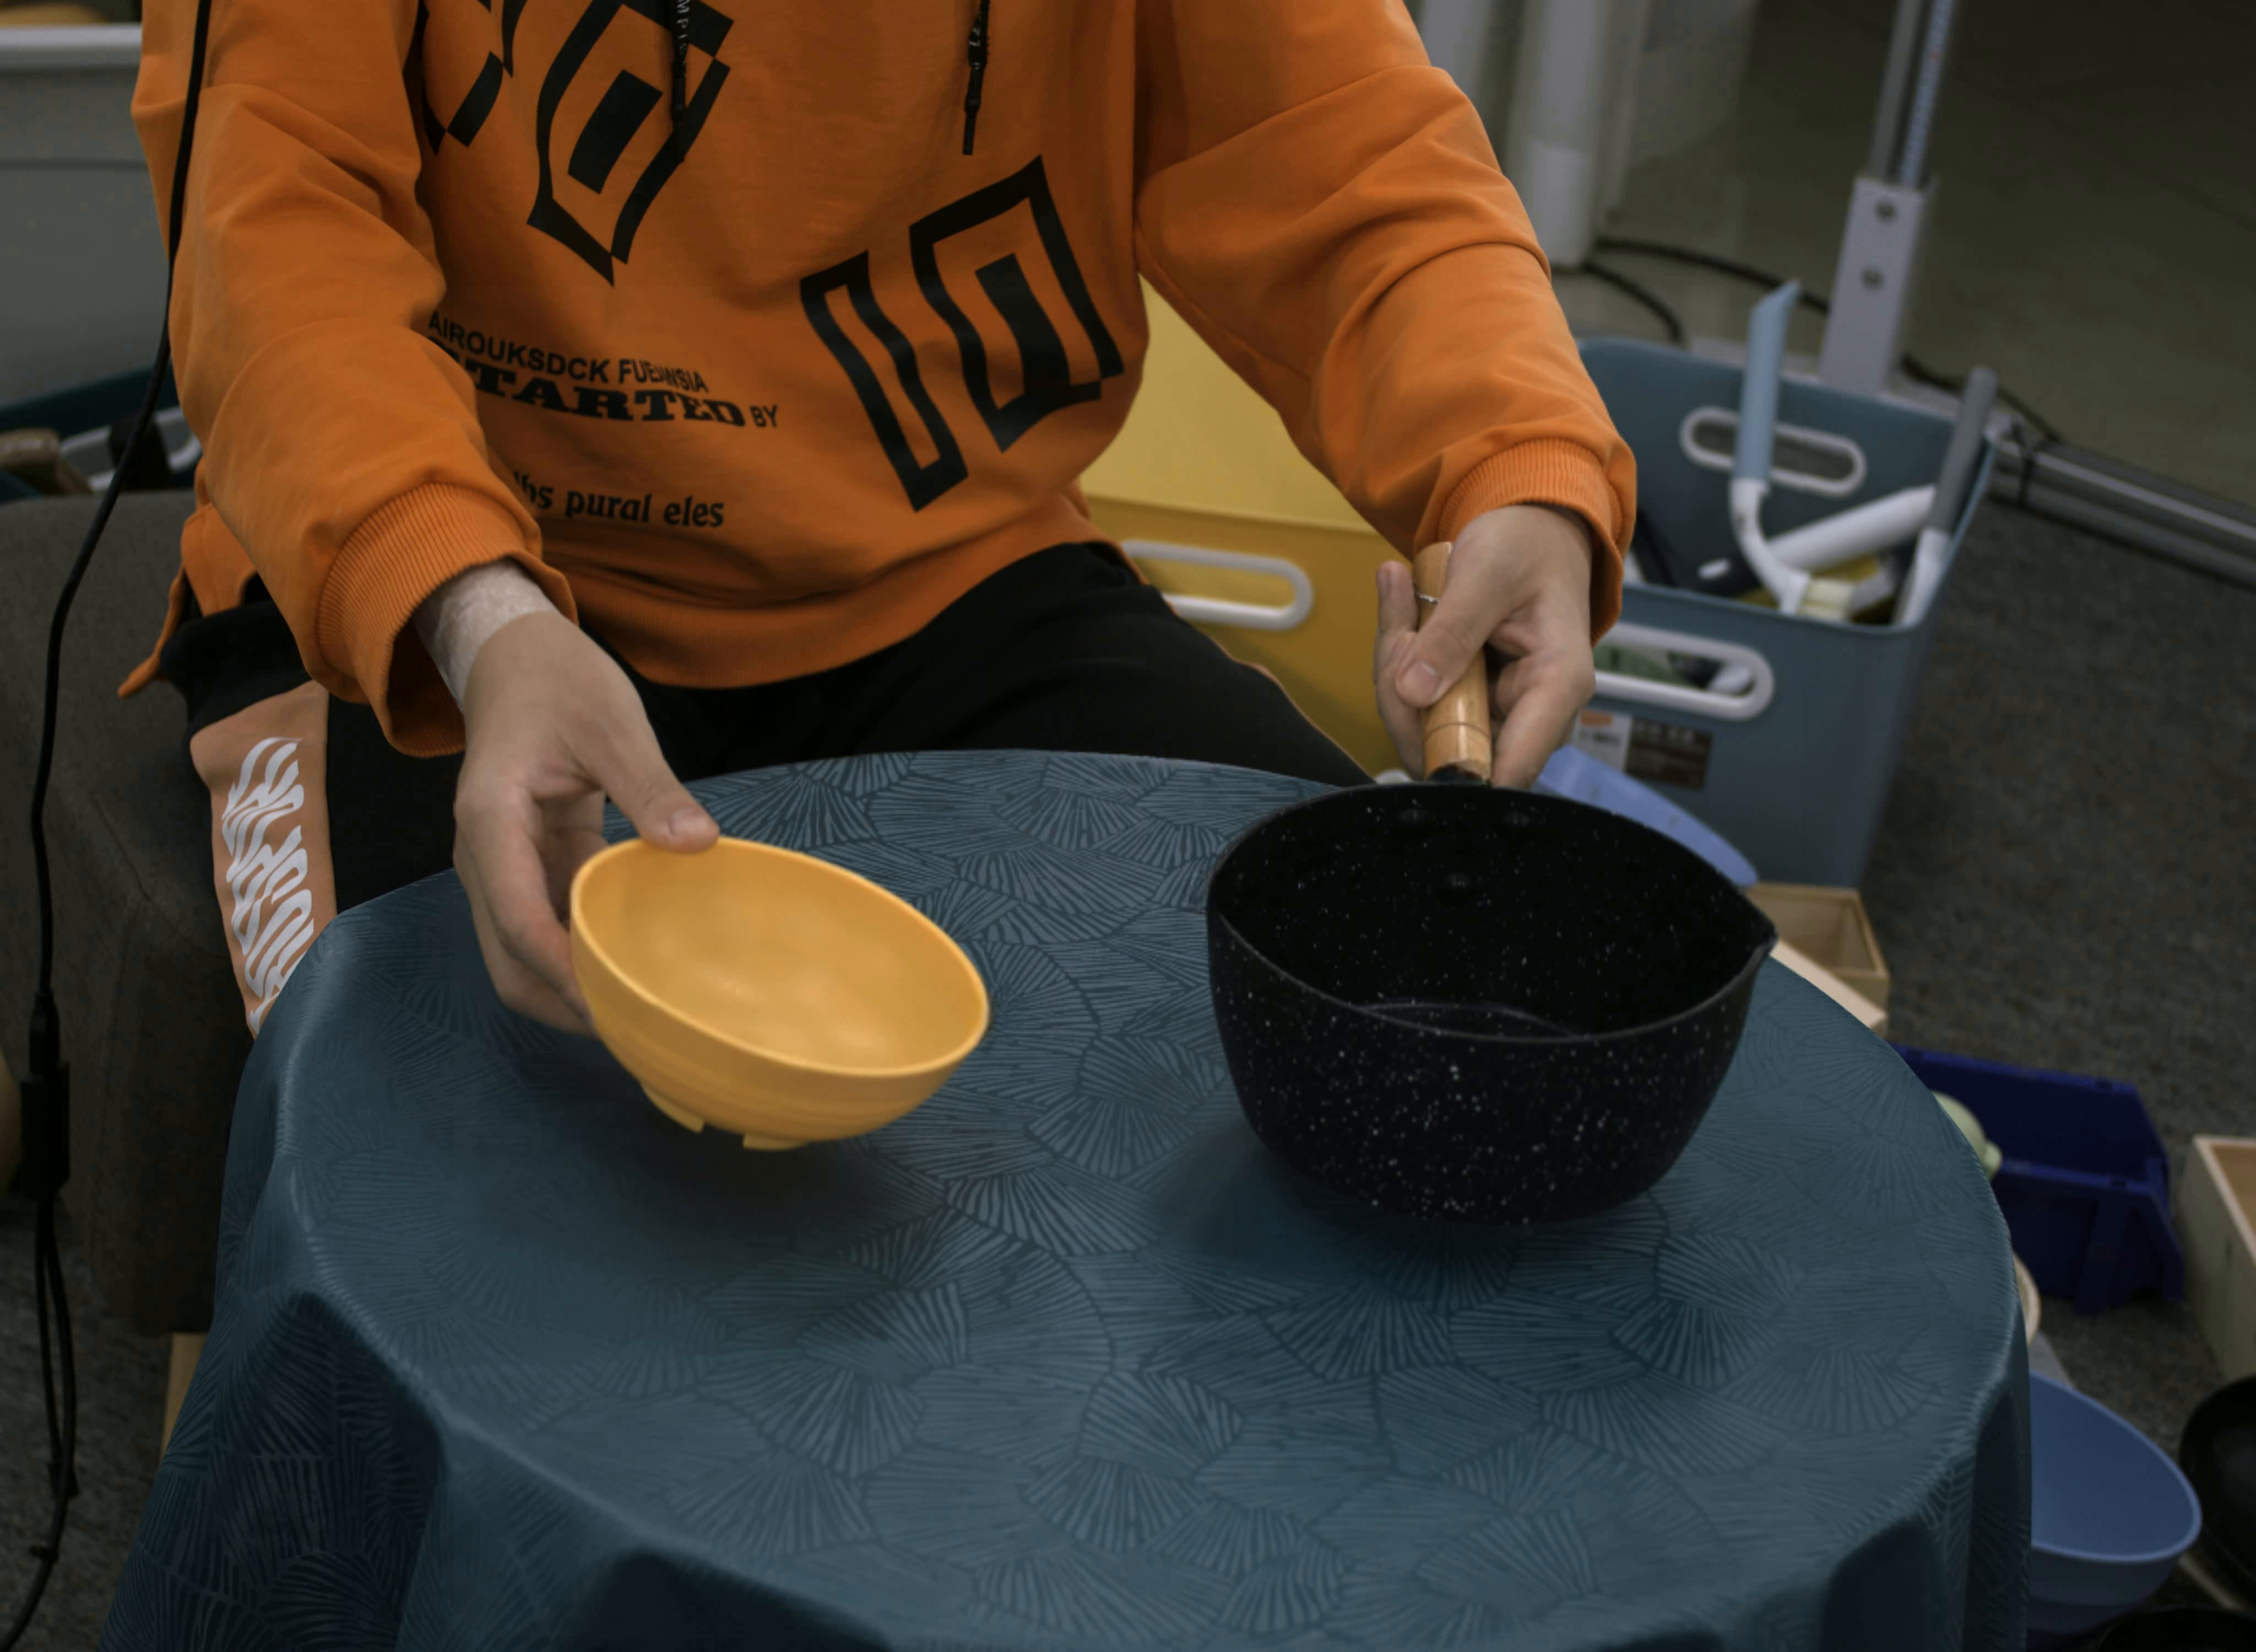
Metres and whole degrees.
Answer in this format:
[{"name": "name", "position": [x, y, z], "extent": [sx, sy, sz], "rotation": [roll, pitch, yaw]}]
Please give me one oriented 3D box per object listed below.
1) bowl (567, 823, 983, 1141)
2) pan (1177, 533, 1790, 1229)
[{"name": "bowl", "position": [-0.125, 0.062, 1.767], "extent": [0.144, 0.060, 0.146], "rotation": [18, 24, -9]}, {"name": "pan", "position": [0.117, 0.016, 1.877], "extent": [0.207, 0.108, 0.345], "rotation": [2, 28, -2]}]
